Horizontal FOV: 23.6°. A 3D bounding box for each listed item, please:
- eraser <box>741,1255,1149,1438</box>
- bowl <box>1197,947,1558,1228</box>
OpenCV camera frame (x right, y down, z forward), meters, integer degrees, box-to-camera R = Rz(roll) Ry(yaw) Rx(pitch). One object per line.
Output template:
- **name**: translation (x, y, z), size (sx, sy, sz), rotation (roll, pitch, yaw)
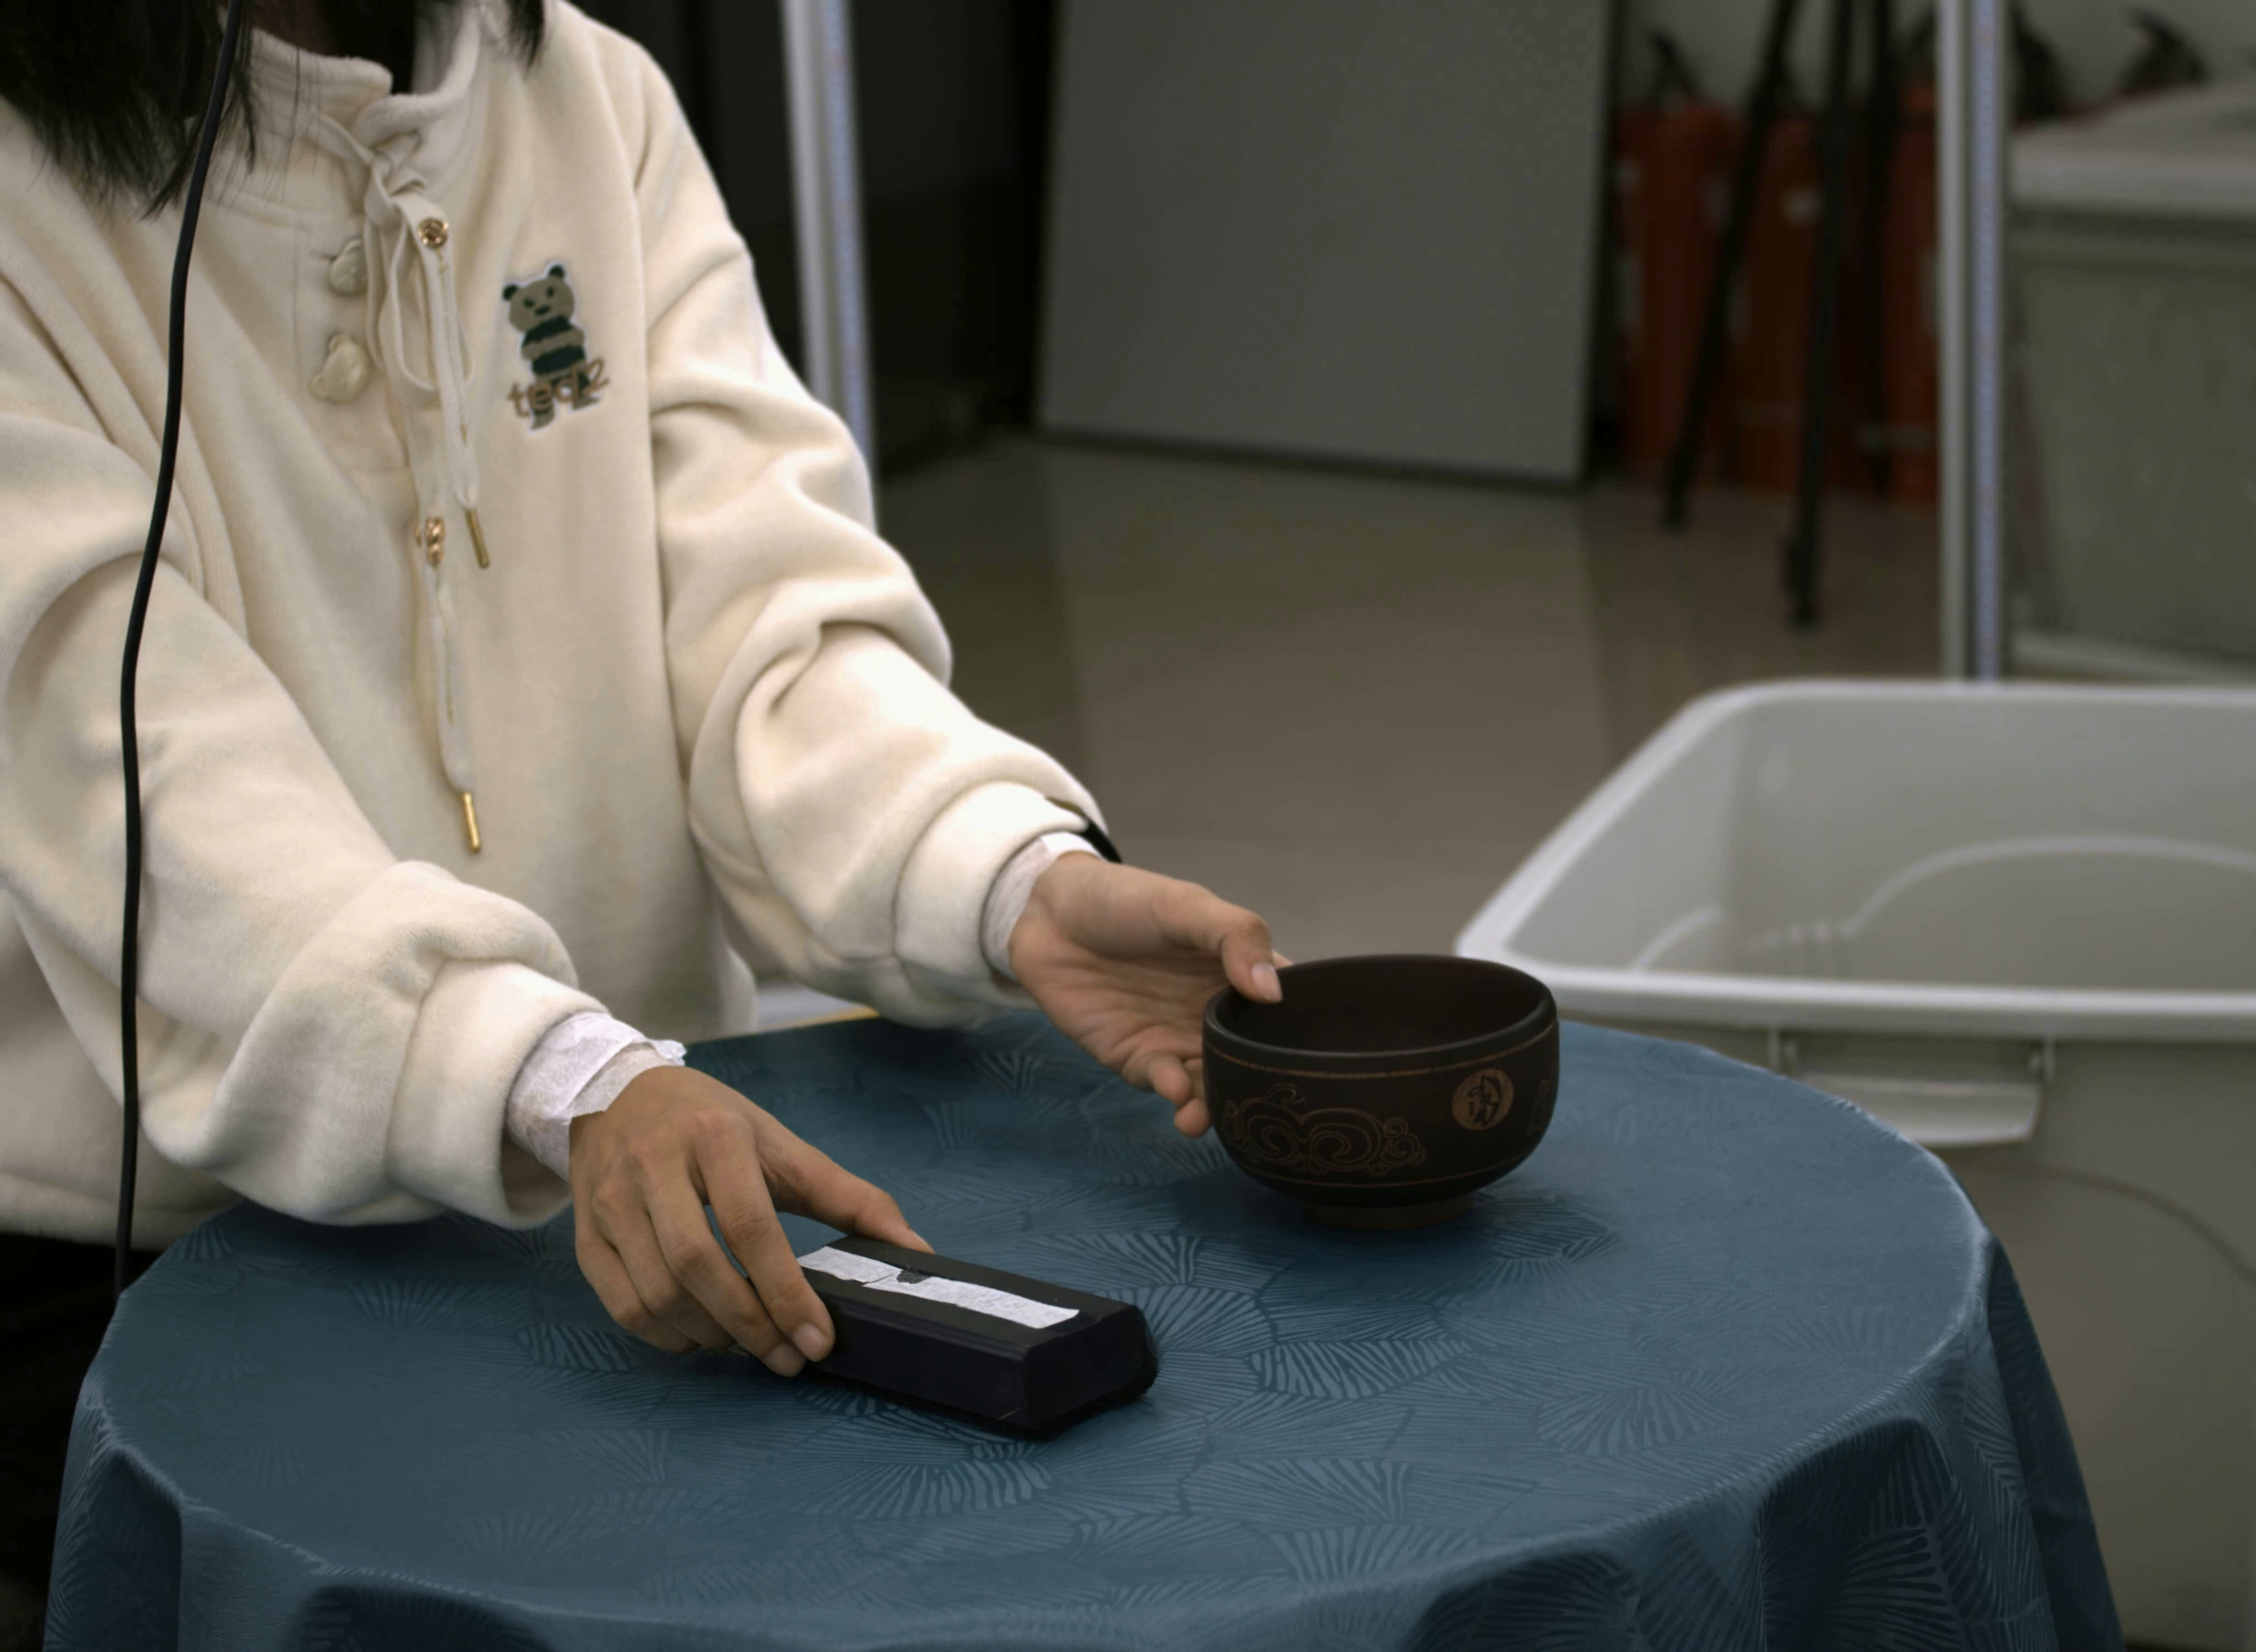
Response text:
- **eraser**: translation (-0.054, 0.153, 1.601), size (0.126, 0.031, 0.052), rotation (6, 16, 44)
- **bowl**: translation (0.081, 0.087, 1.731), size (0.116, 0.070, 0.118), rotation (-5, 13, 0)
